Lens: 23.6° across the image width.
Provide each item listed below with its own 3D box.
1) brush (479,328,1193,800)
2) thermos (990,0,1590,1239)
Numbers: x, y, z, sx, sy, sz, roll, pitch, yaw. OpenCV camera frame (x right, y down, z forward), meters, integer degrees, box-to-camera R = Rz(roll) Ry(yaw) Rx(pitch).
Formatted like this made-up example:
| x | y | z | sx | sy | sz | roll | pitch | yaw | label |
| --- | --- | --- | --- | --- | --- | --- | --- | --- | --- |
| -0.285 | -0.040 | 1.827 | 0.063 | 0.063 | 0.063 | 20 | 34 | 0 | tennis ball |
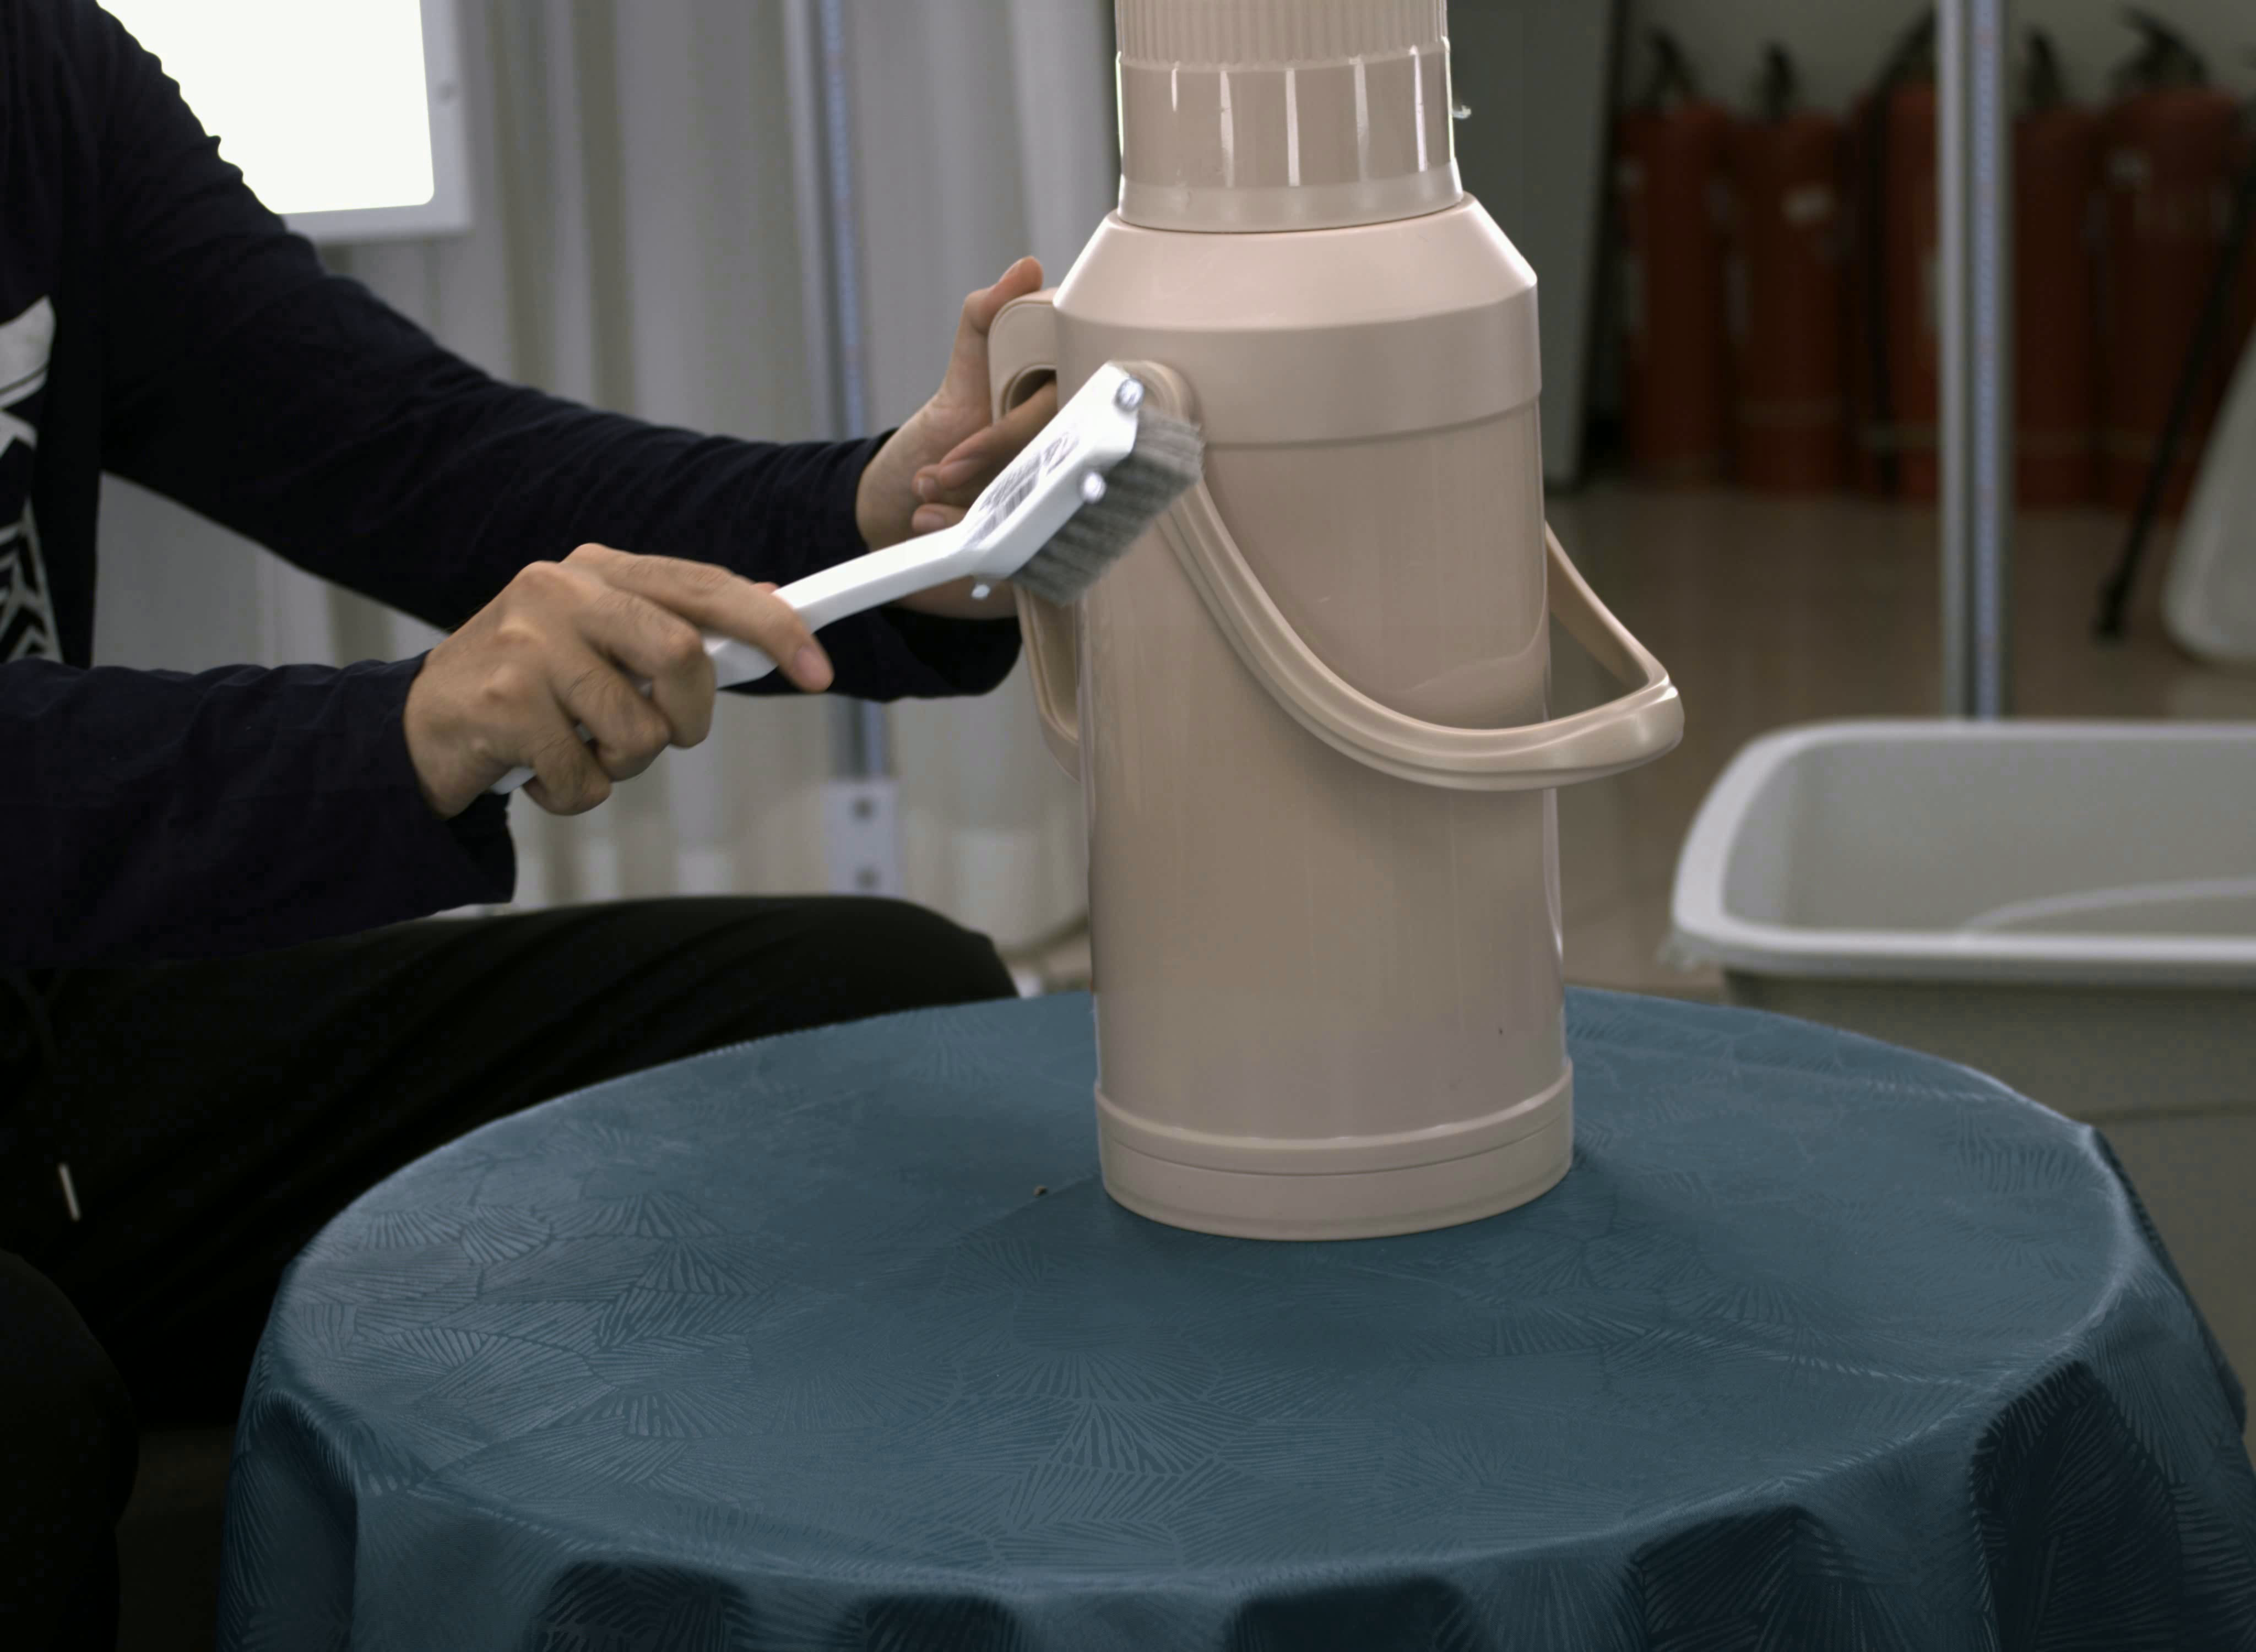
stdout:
| x | y | z | sx | sy | sz | roll | pitch | yaw | label |
| --- | --- | --- | --- | --- | --- | --- | --- | --- | --- |
| -0.085 | -0.065 | 1.600 | 0.244 | 0.050 | 0.035 | -33 | 35 | 14 | brush |
| 0.049 | -0.082 | 1.751 | 0.208 | 0.410 | 0.172 | 5 | 18 | 36 | thermos |
